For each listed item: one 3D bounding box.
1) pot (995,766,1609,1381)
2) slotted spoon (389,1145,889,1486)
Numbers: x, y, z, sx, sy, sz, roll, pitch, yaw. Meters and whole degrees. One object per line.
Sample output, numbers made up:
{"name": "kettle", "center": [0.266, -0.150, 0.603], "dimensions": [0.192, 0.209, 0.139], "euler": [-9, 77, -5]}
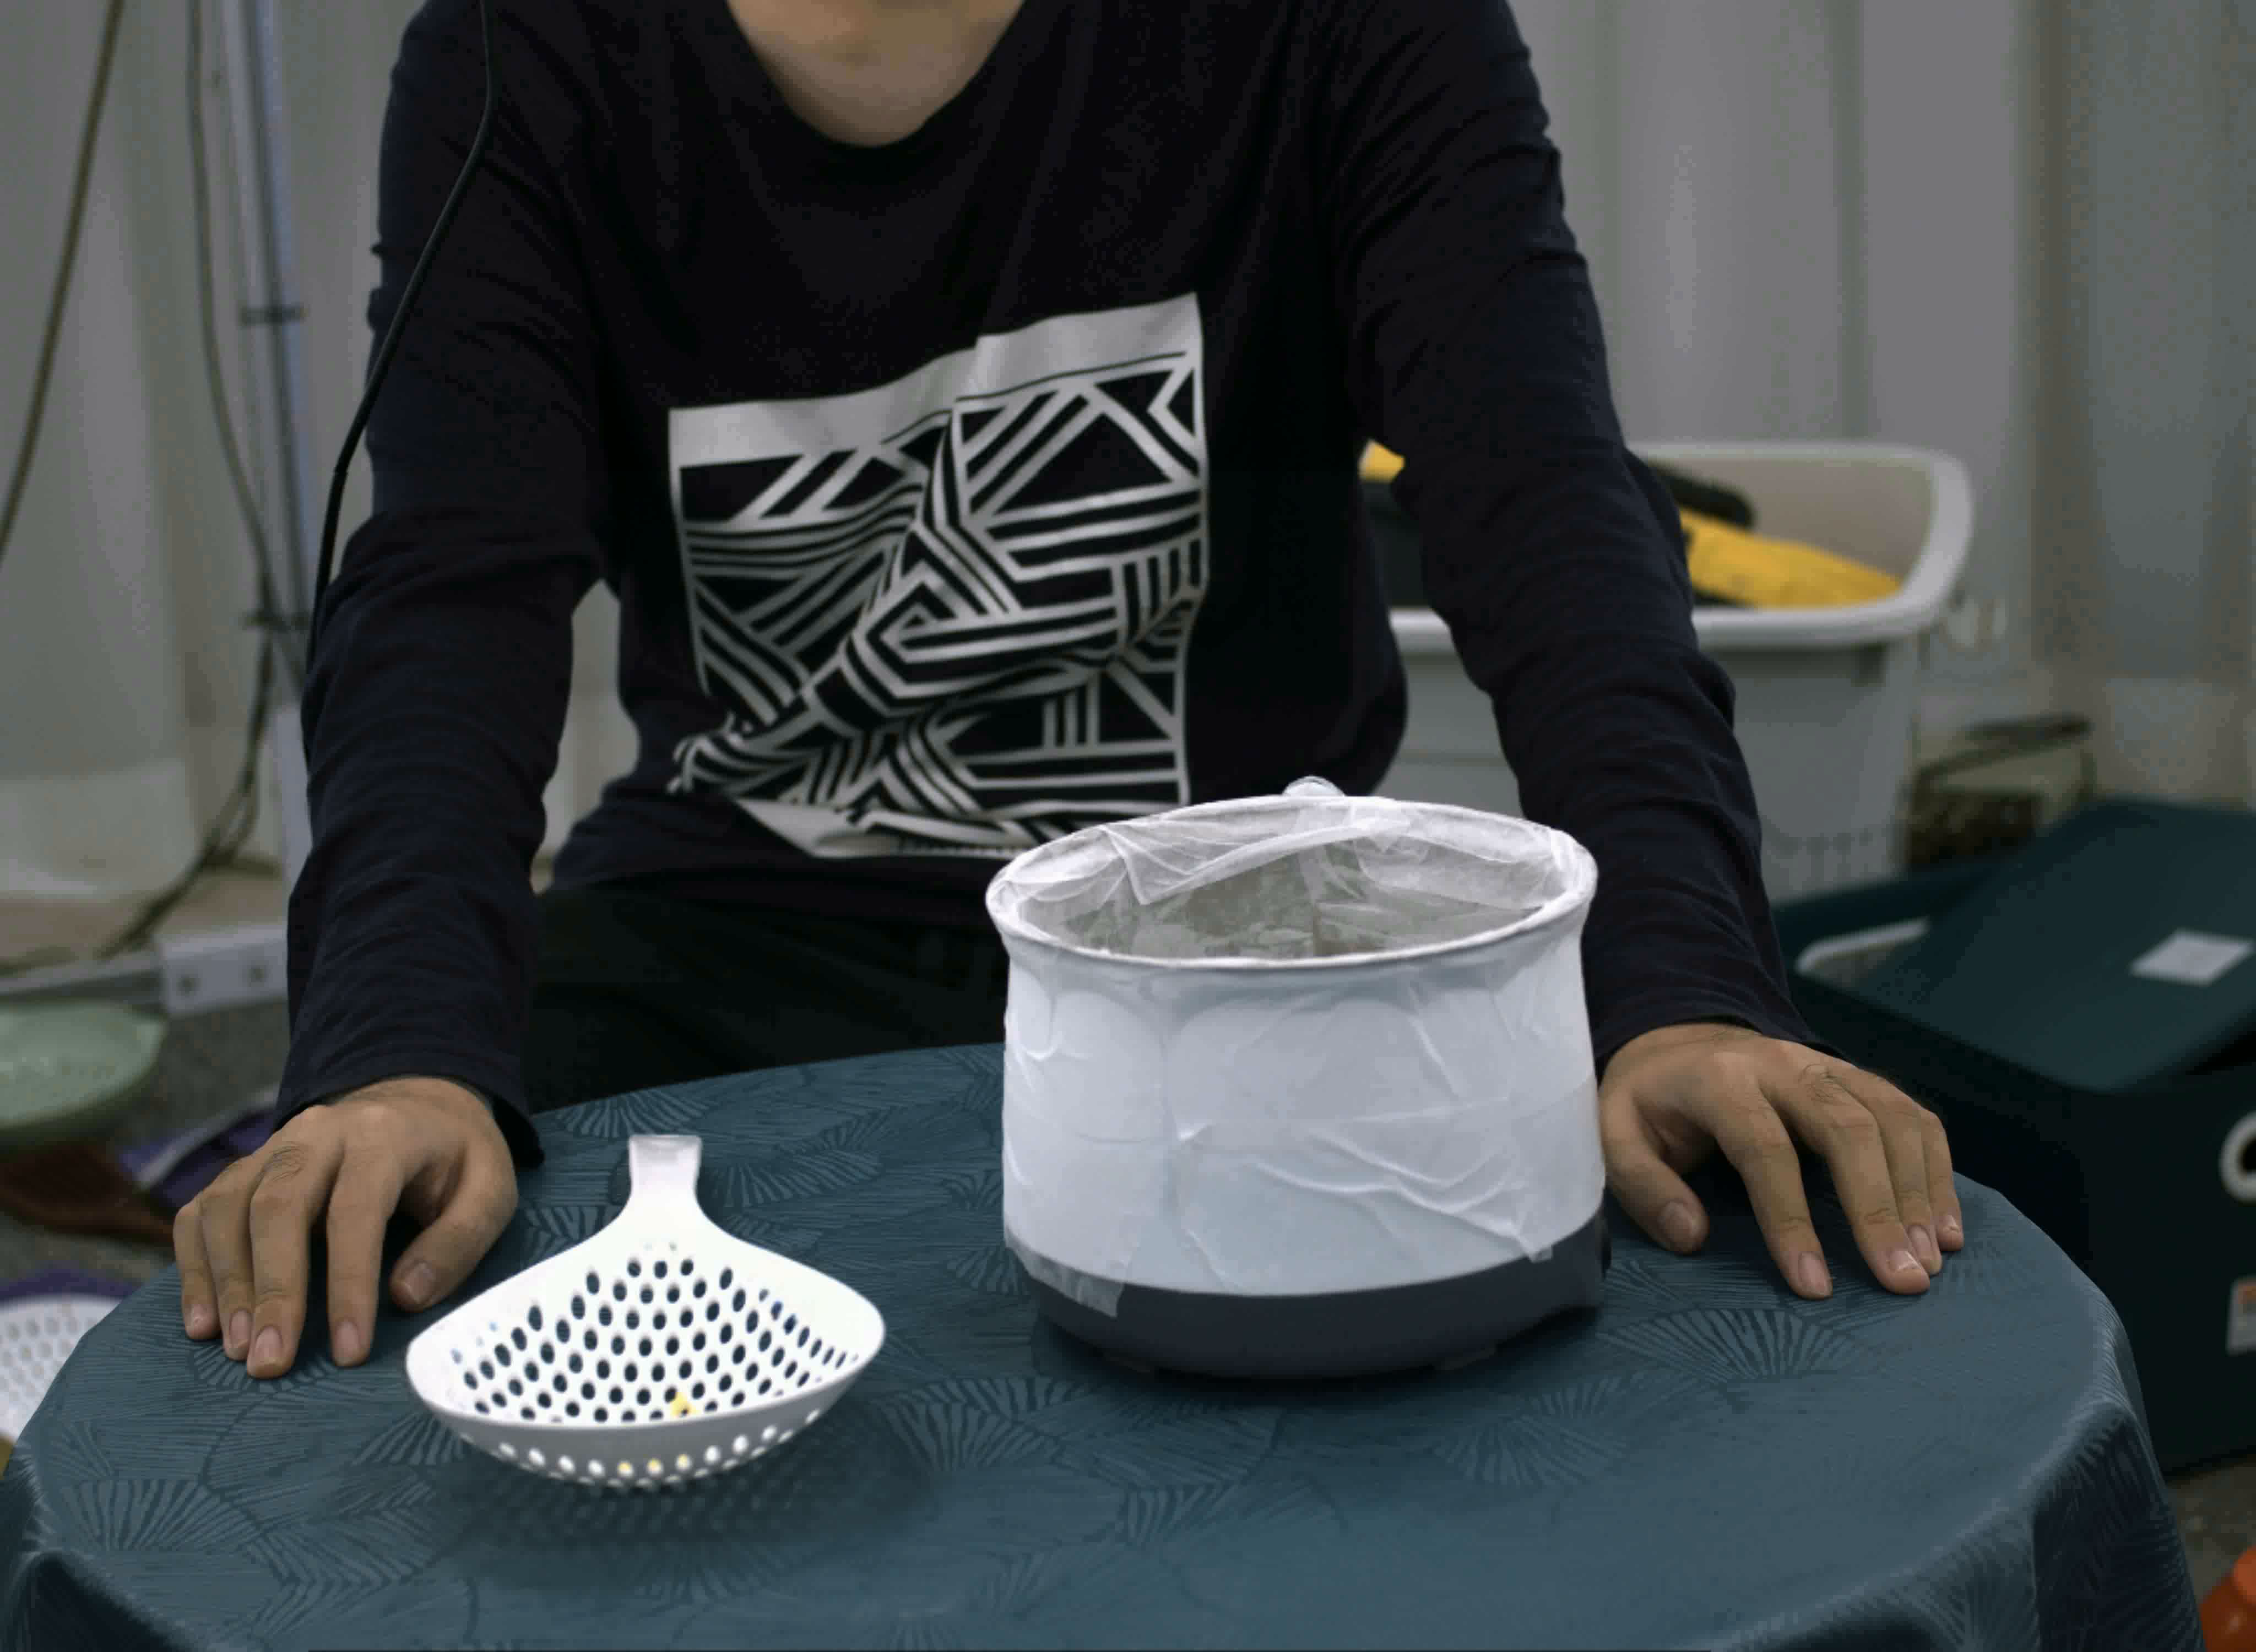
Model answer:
{"name": "pot", "center": [0.052, 0.067, 1.616], "dimensions": [0.178, 0.136, 0.235], "euler": [1, 16, 4]}
{"name": "slotted spoon", "center": [-0.140, 0.129, 1.606], "dimensions": [0.136, 0.050, 0.350], "euler": [-5, 16, -3]}
